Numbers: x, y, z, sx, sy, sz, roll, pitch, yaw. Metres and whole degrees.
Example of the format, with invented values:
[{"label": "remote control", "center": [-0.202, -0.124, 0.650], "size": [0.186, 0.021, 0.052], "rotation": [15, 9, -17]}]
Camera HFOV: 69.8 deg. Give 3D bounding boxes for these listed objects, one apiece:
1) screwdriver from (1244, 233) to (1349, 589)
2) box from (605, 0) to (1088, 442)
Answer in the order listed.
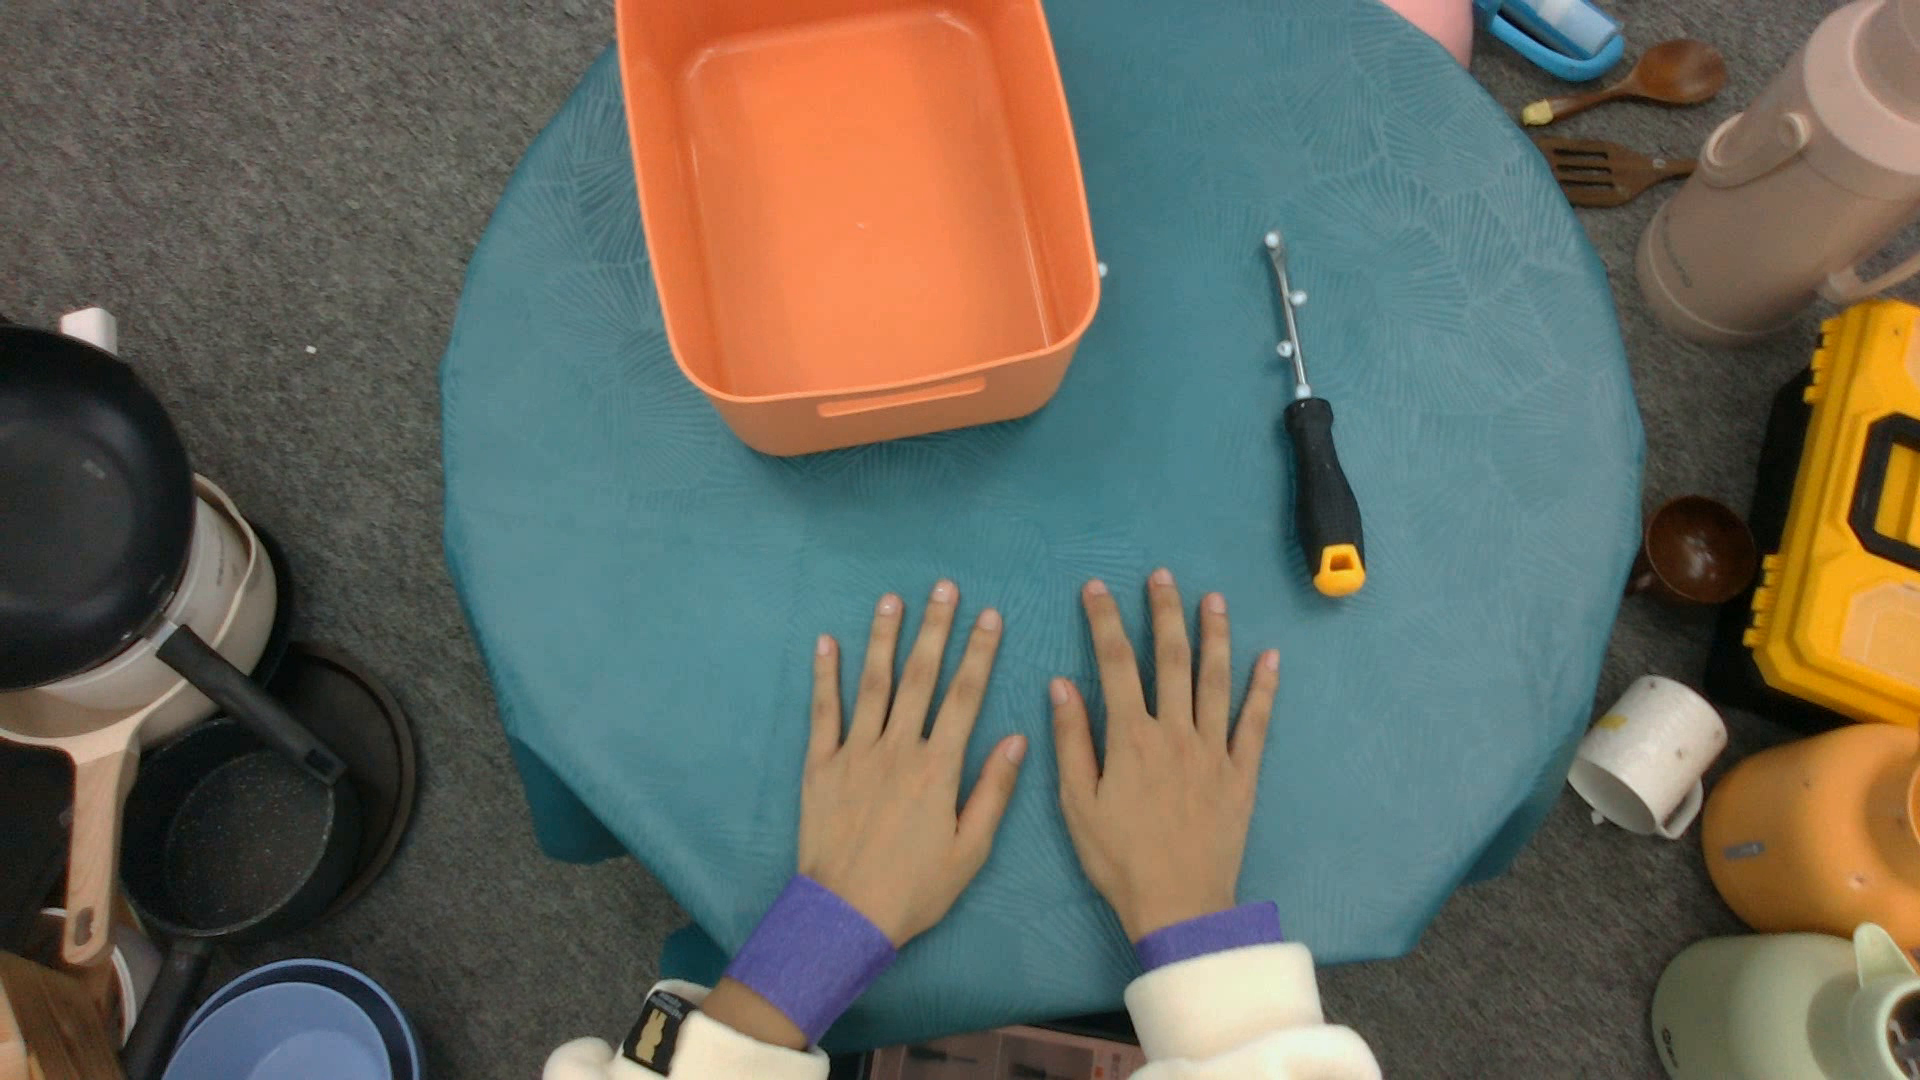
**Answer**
[{"label": "screwdriver", "center": [0.155, -0.067, 0.671], "size": [0.031, 0.031, 0.198], "rotation": [-7, 63, -3]}, {"label": "box", "center": [-0.058, -0.185, 0.673], "size": [0.199, 0.102, 0.274], "rotation": [-10, 72, -5]}]
